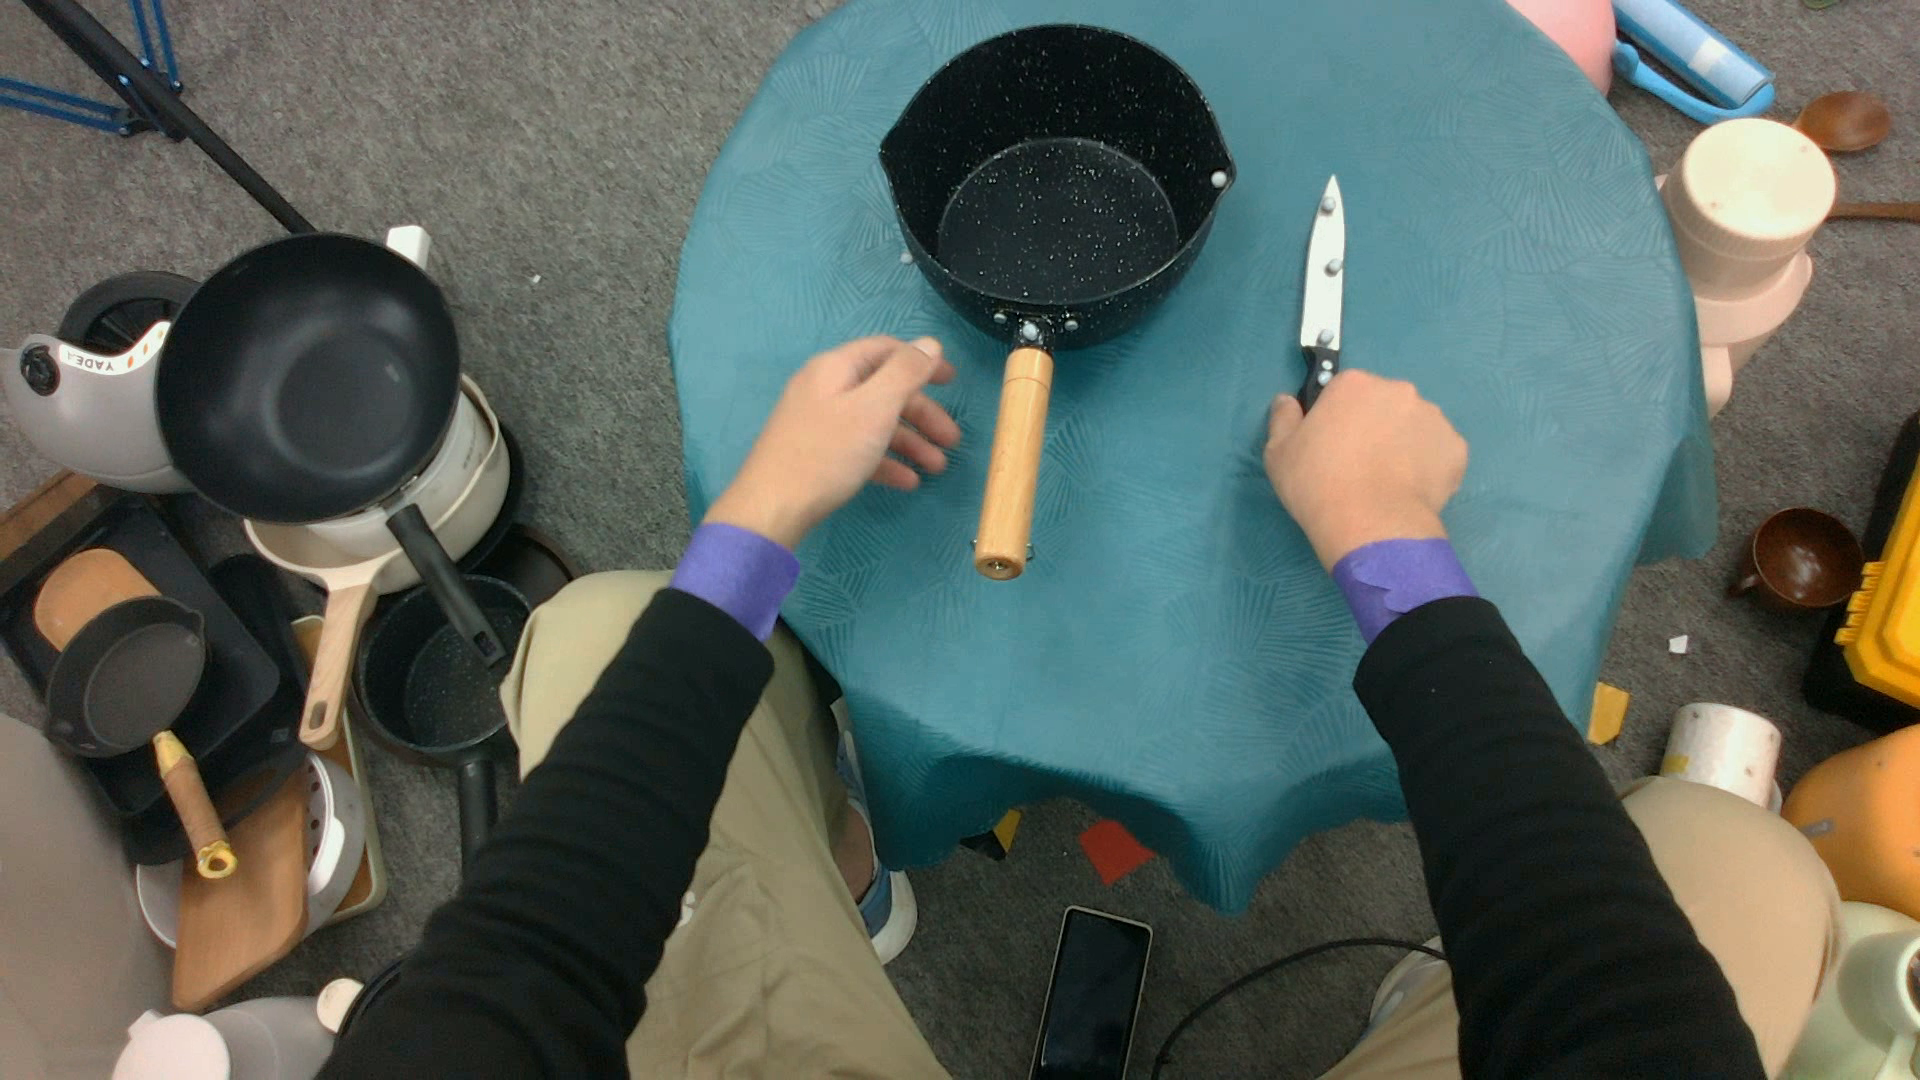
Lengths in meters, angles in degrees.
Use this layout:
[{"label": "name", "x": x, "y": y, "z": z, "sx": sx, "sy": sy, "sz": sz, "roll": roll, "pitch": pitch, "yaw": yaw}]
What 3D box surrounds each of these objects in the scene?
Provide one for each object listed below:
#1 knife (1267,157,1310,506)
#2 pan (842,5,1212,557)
[{"label": "knife", "x": 0.191, "y": -0.127, "z": 0.796, "sx": 0.024, "sy": 0.016, "sz": 0.239, "roll": 7, "pitch": 66, "yaw": -1}, {"label": "pan", "x": 0.030, "y": -0.137, "z": 0.765, "sx": 0.207, "sy": 0.108, "sz": 0.344, "roll": 5, "pitch": 69, "yaw": 5}]
